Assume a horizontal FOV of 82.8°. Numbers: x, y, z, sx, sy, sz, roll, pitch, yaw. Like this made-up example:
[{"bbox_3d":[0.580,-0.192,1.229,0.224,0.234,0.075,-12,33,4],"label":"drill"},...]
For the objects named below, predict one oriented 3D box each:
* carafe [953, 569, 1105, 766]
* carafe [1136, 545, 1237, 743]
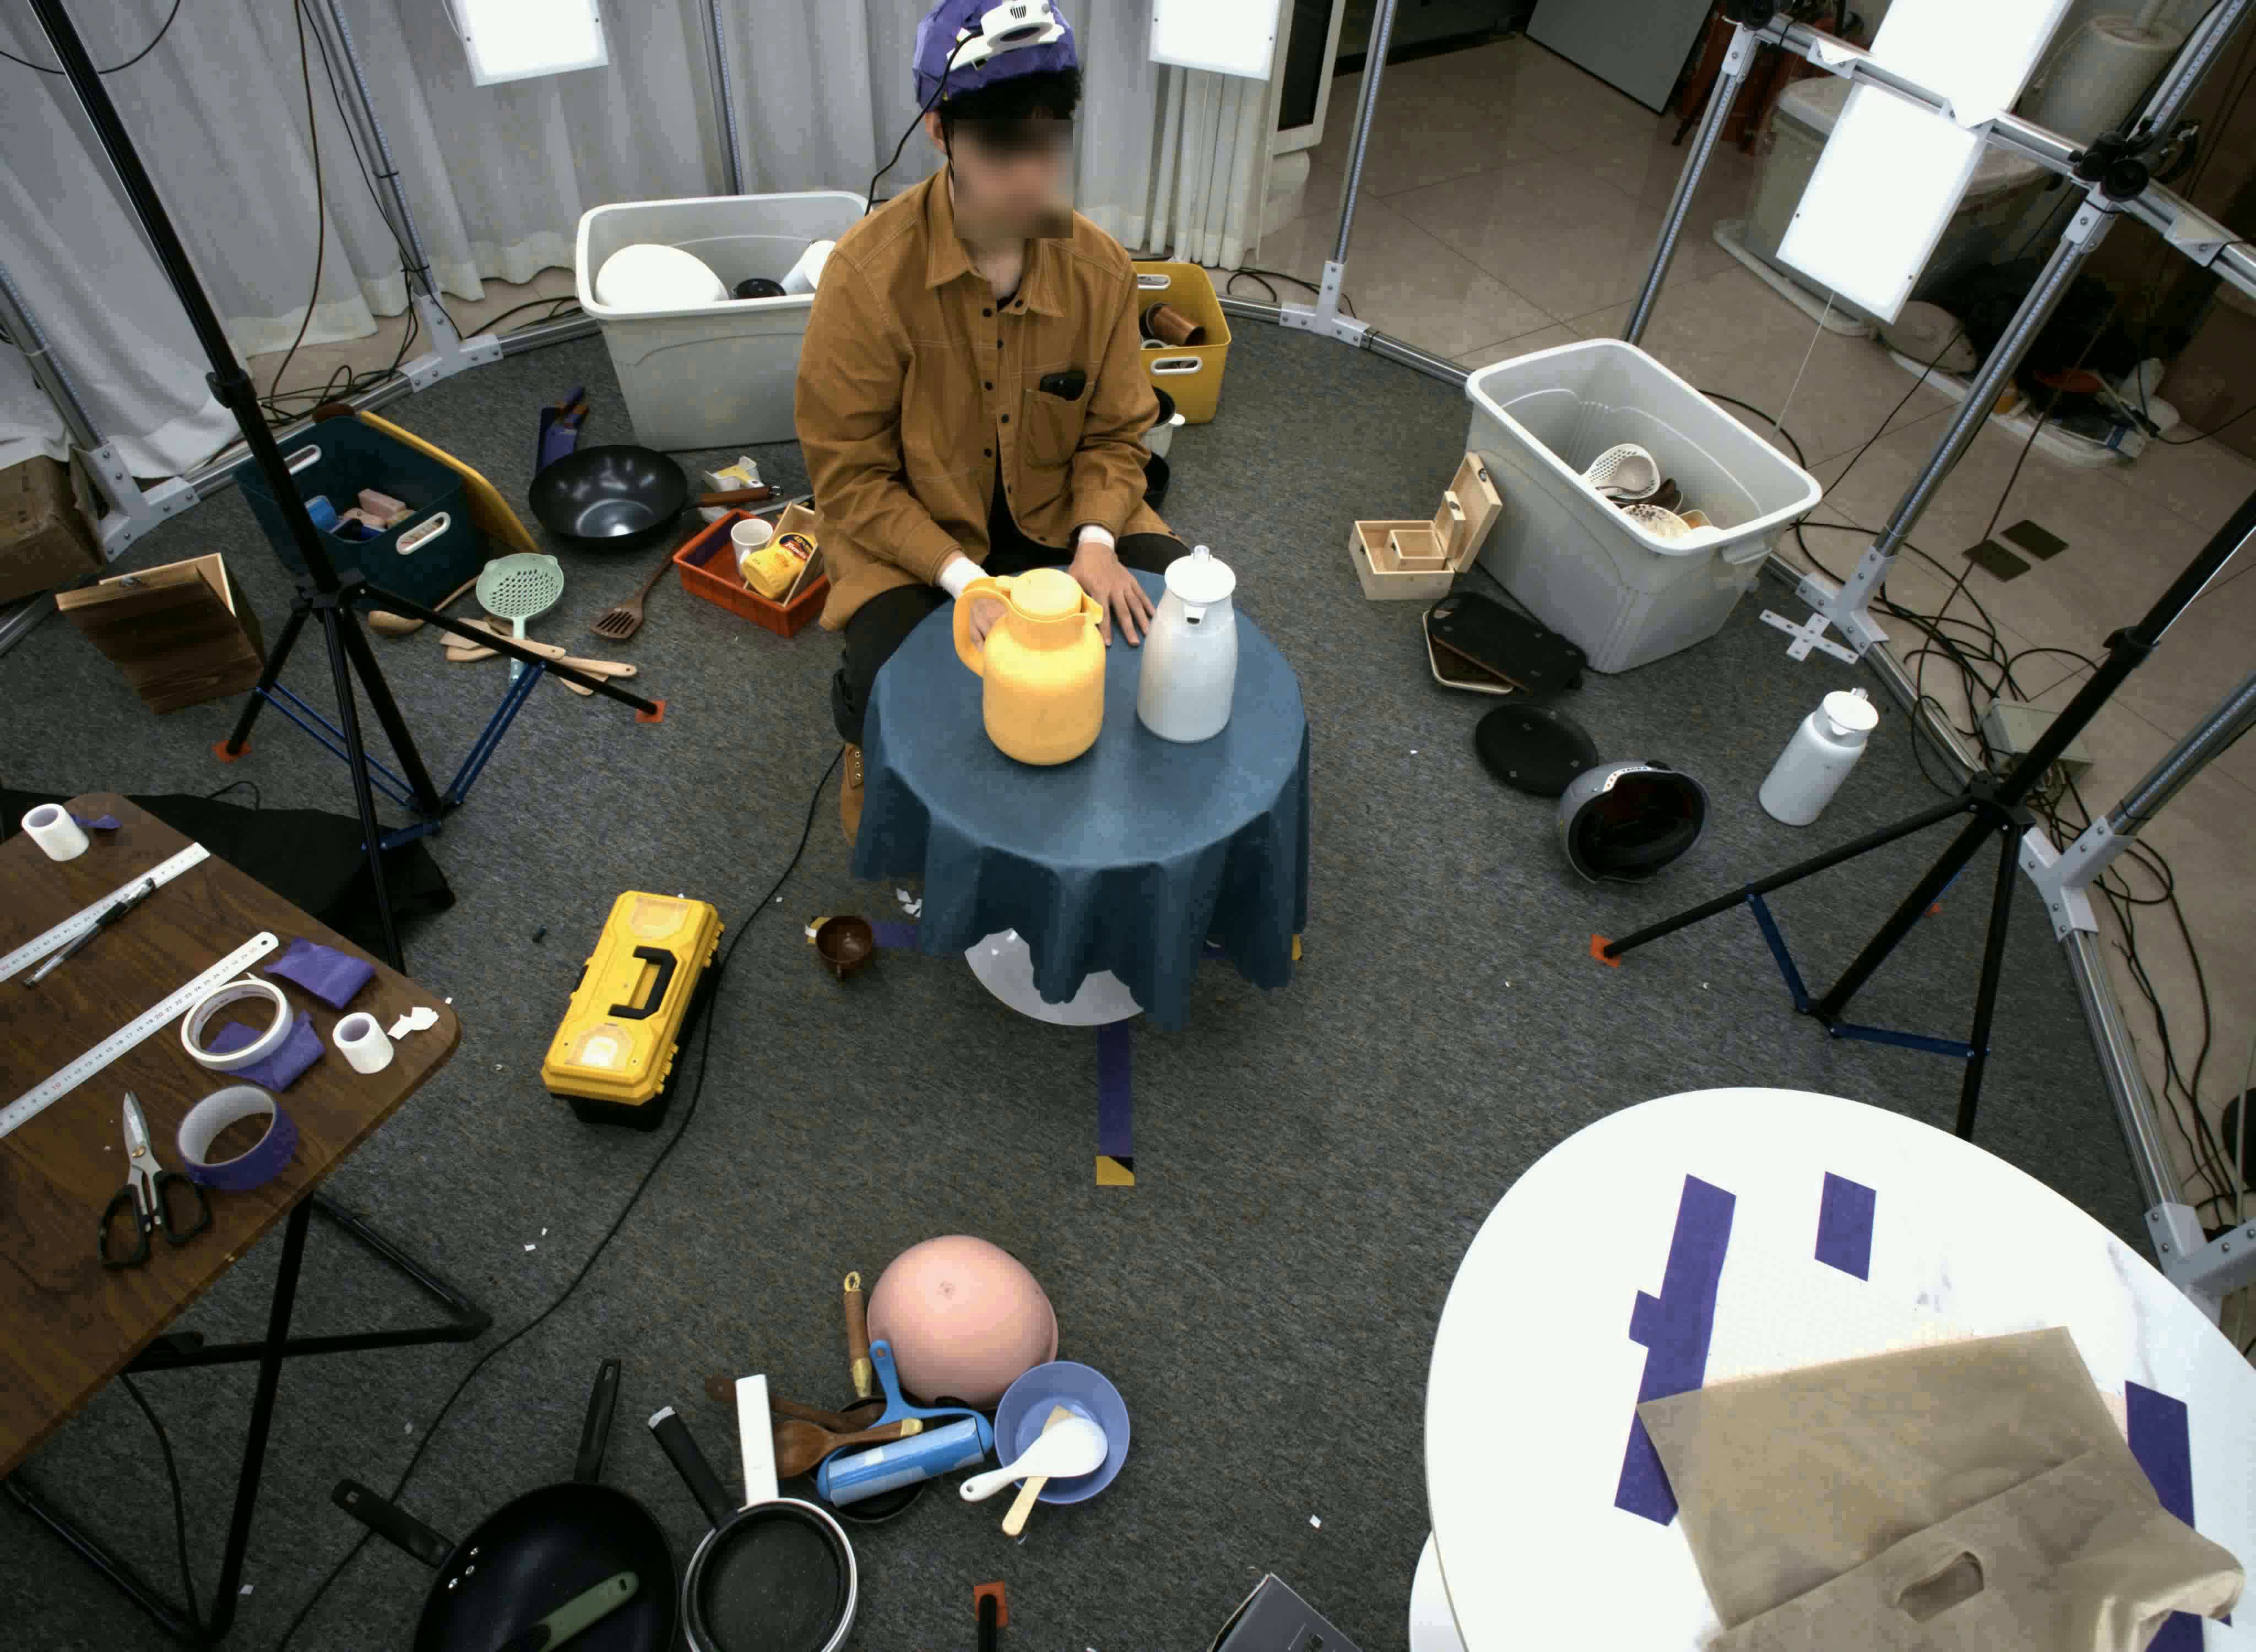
[{"bbox_3d":[-0.128,-0.218,1.684,0.203,0.254,0.167,17,48,9],"label":"carafe"},{"bbox_3d":[0.086,-0.258,1.738,0.132,0.242,0.172,8,49,3],"label":"carafe"}]
